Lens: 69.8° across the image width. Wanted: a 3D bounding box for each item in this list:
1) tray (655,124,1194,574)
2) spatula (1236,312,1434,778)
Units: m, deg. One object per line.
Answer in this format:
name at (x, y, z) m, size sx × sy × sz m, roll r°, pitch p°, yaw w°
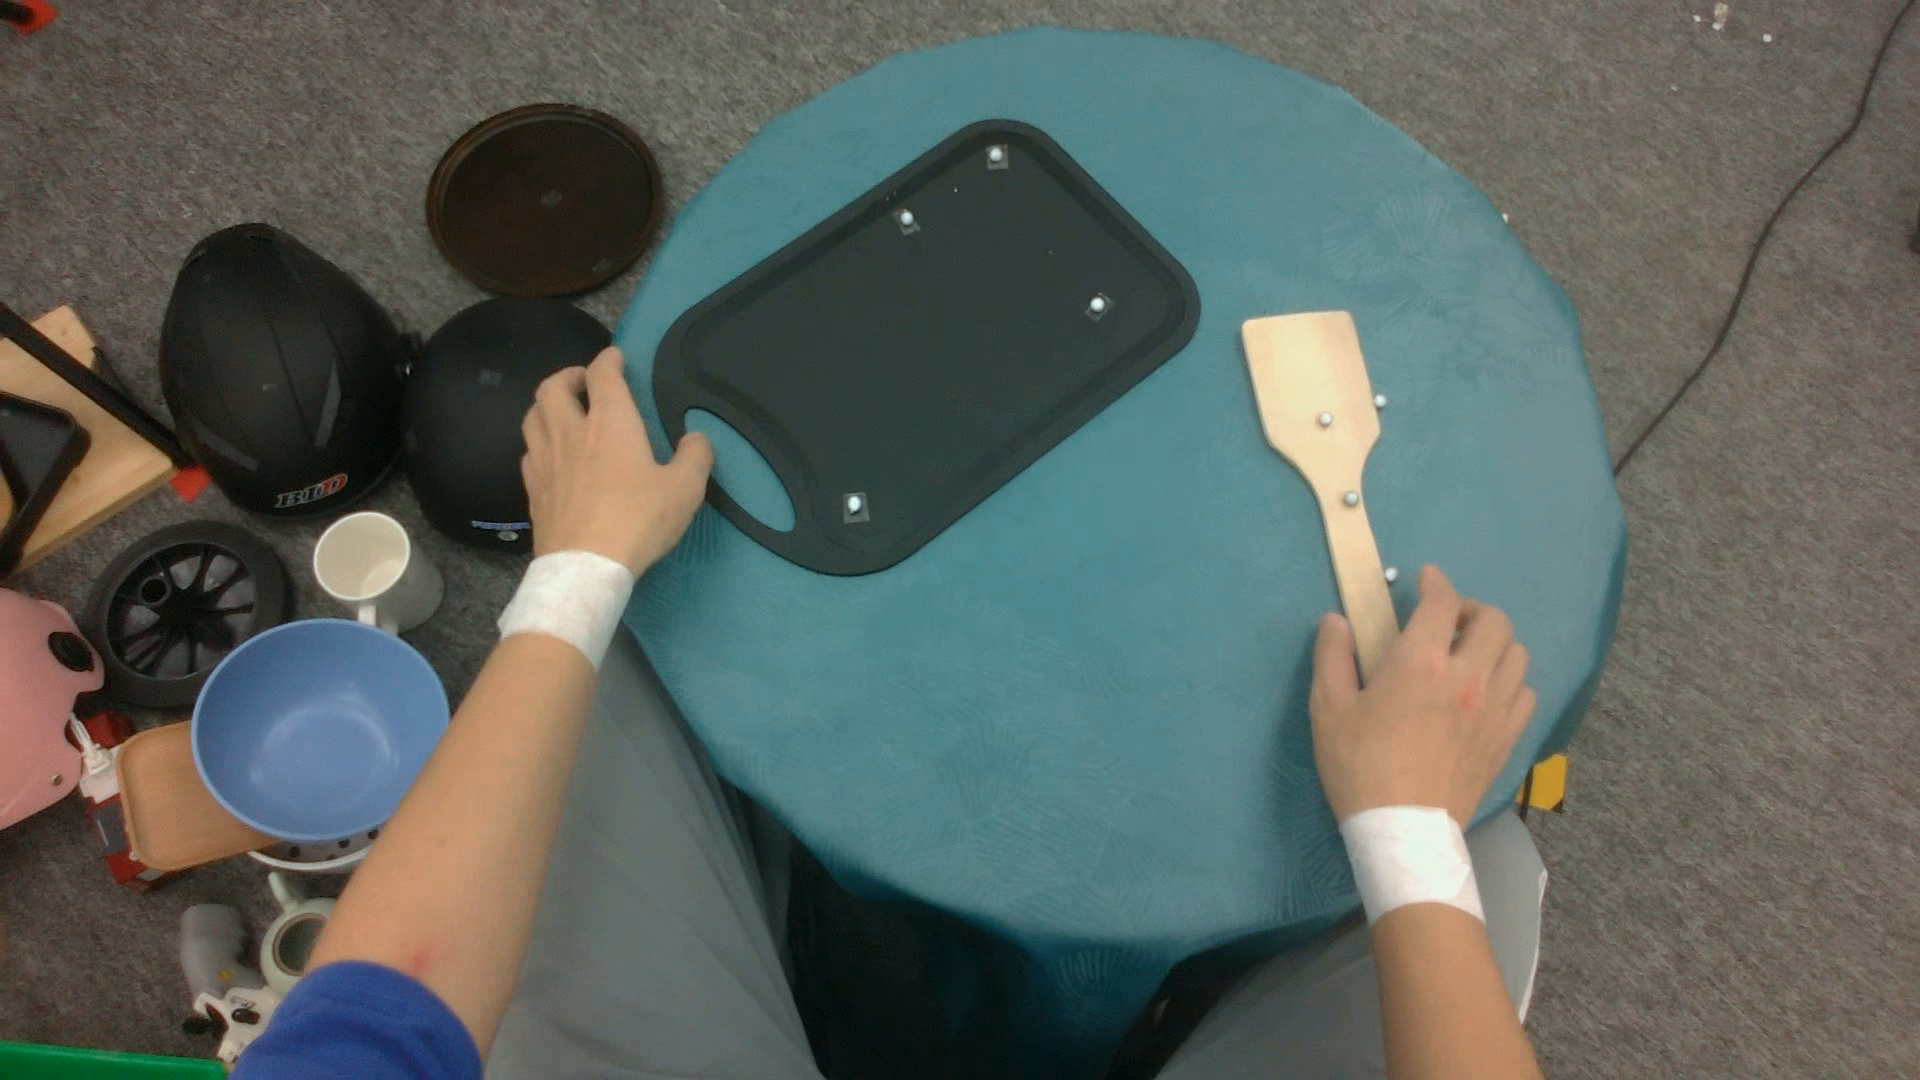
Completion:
tray at (-0.024, -0.123, 0.846) m, size 0.326 × 0.010 × 0.211 m, roll -37°, pitch 73°, yaw -15°
spatula at (0.226, -0.005, 0.802) m, size 0.072 × 0.010 × 0.294 m, roll -7°, pitch 67°, yaw -6°
